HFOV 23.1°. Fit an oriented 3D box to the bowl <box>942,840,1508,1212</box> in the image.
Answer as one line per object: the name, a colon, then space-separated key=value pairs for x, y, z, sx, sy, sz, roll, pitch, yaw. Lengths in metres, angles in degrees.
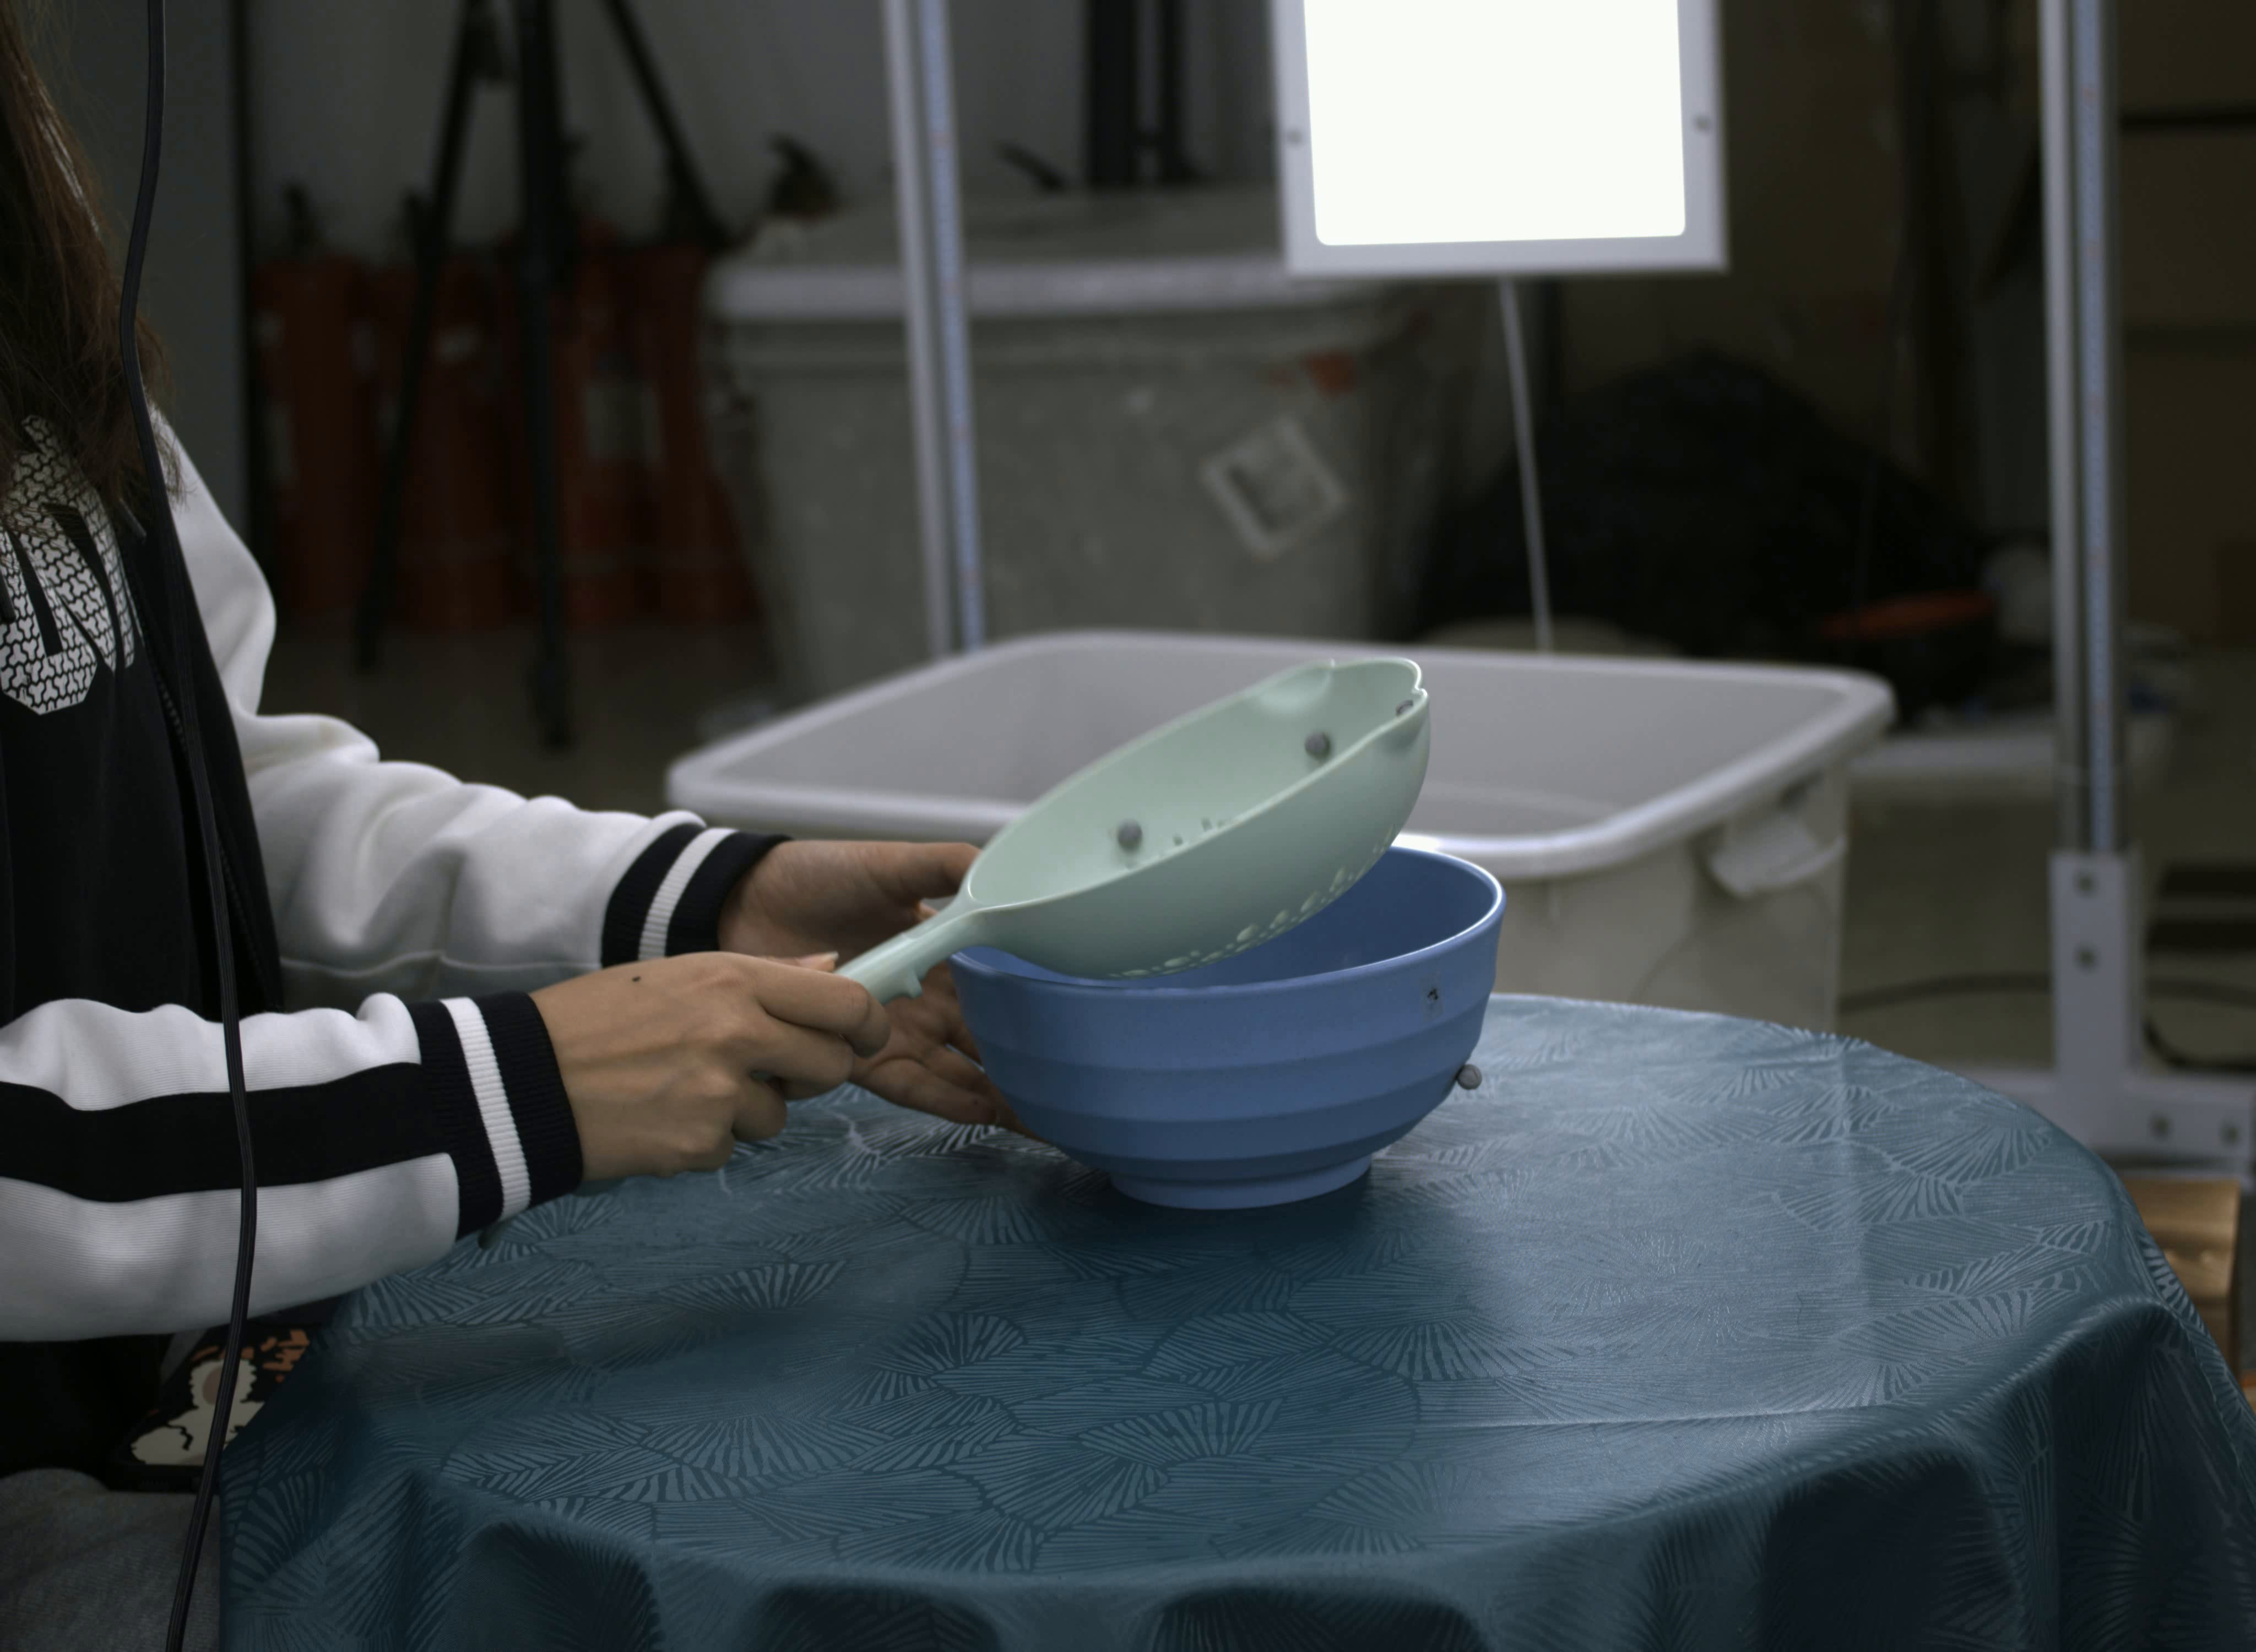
bowl: x=0.036 y=0.074 z=1.901 sx=0.196 sy=0.096 sz=0.196 roll=-5 pitch=14 yaw=0

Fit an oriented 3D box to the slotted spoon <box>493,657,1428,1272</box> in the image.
slotted spoon: x=-0.056 y=0.044 z=1.822 sx=0.355 sy=0.075 sz=0.171 roll=-22 pitch=9 yaw=-9
